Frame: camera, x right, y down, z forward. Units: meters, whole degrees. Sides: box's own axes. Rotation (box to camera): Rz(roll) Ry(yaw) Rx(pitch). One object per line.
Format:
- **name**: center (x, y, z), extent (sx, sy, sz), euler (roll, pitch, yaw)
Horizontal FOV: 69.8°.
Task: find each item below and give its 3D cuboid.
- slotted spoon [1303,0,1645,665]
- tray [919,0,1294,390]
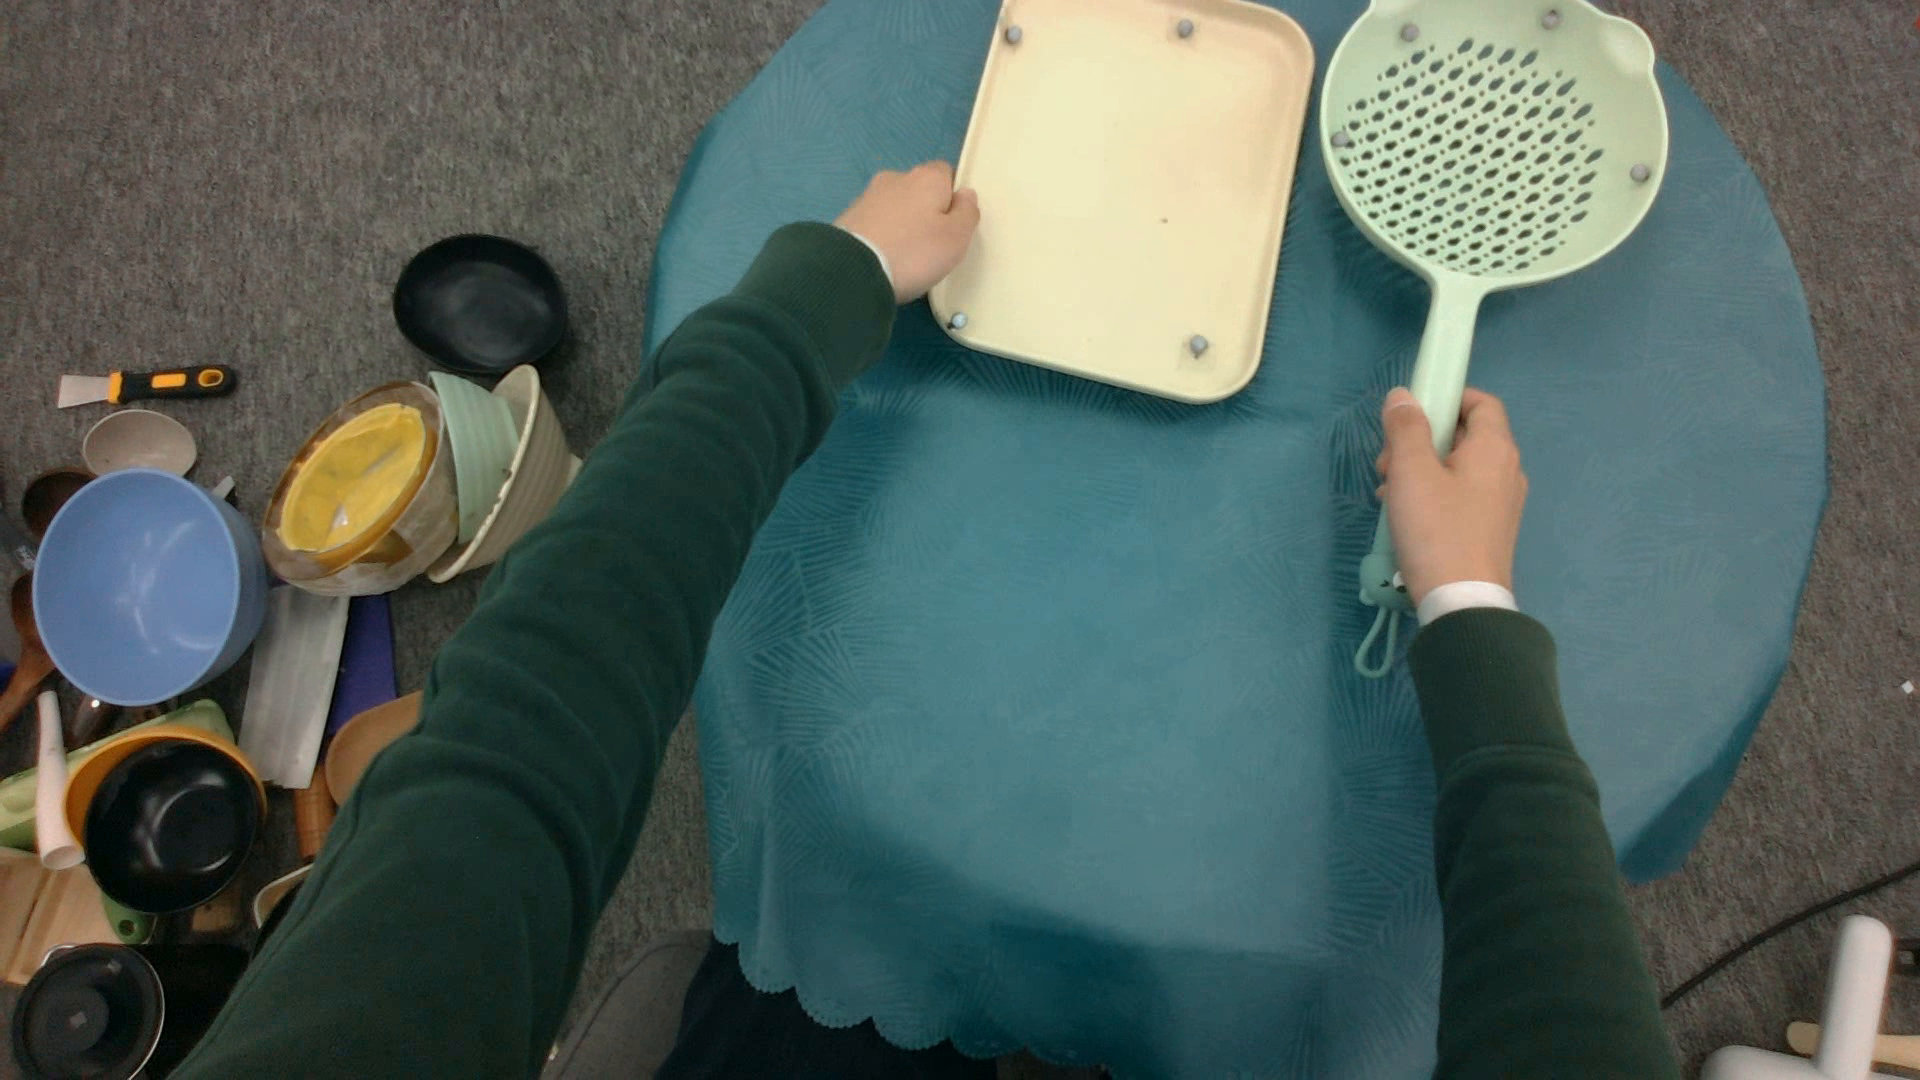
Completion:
- **slotted spoon**: center (0.230, -0.116, 0.672), extent (0.169, 0.075, 0.360), euler (14, 69, 5)
- **tray**: center (0.079, -0.195, 0.716), extent (0.171, 0.017, 0.240), euler (13, 70, -2)
